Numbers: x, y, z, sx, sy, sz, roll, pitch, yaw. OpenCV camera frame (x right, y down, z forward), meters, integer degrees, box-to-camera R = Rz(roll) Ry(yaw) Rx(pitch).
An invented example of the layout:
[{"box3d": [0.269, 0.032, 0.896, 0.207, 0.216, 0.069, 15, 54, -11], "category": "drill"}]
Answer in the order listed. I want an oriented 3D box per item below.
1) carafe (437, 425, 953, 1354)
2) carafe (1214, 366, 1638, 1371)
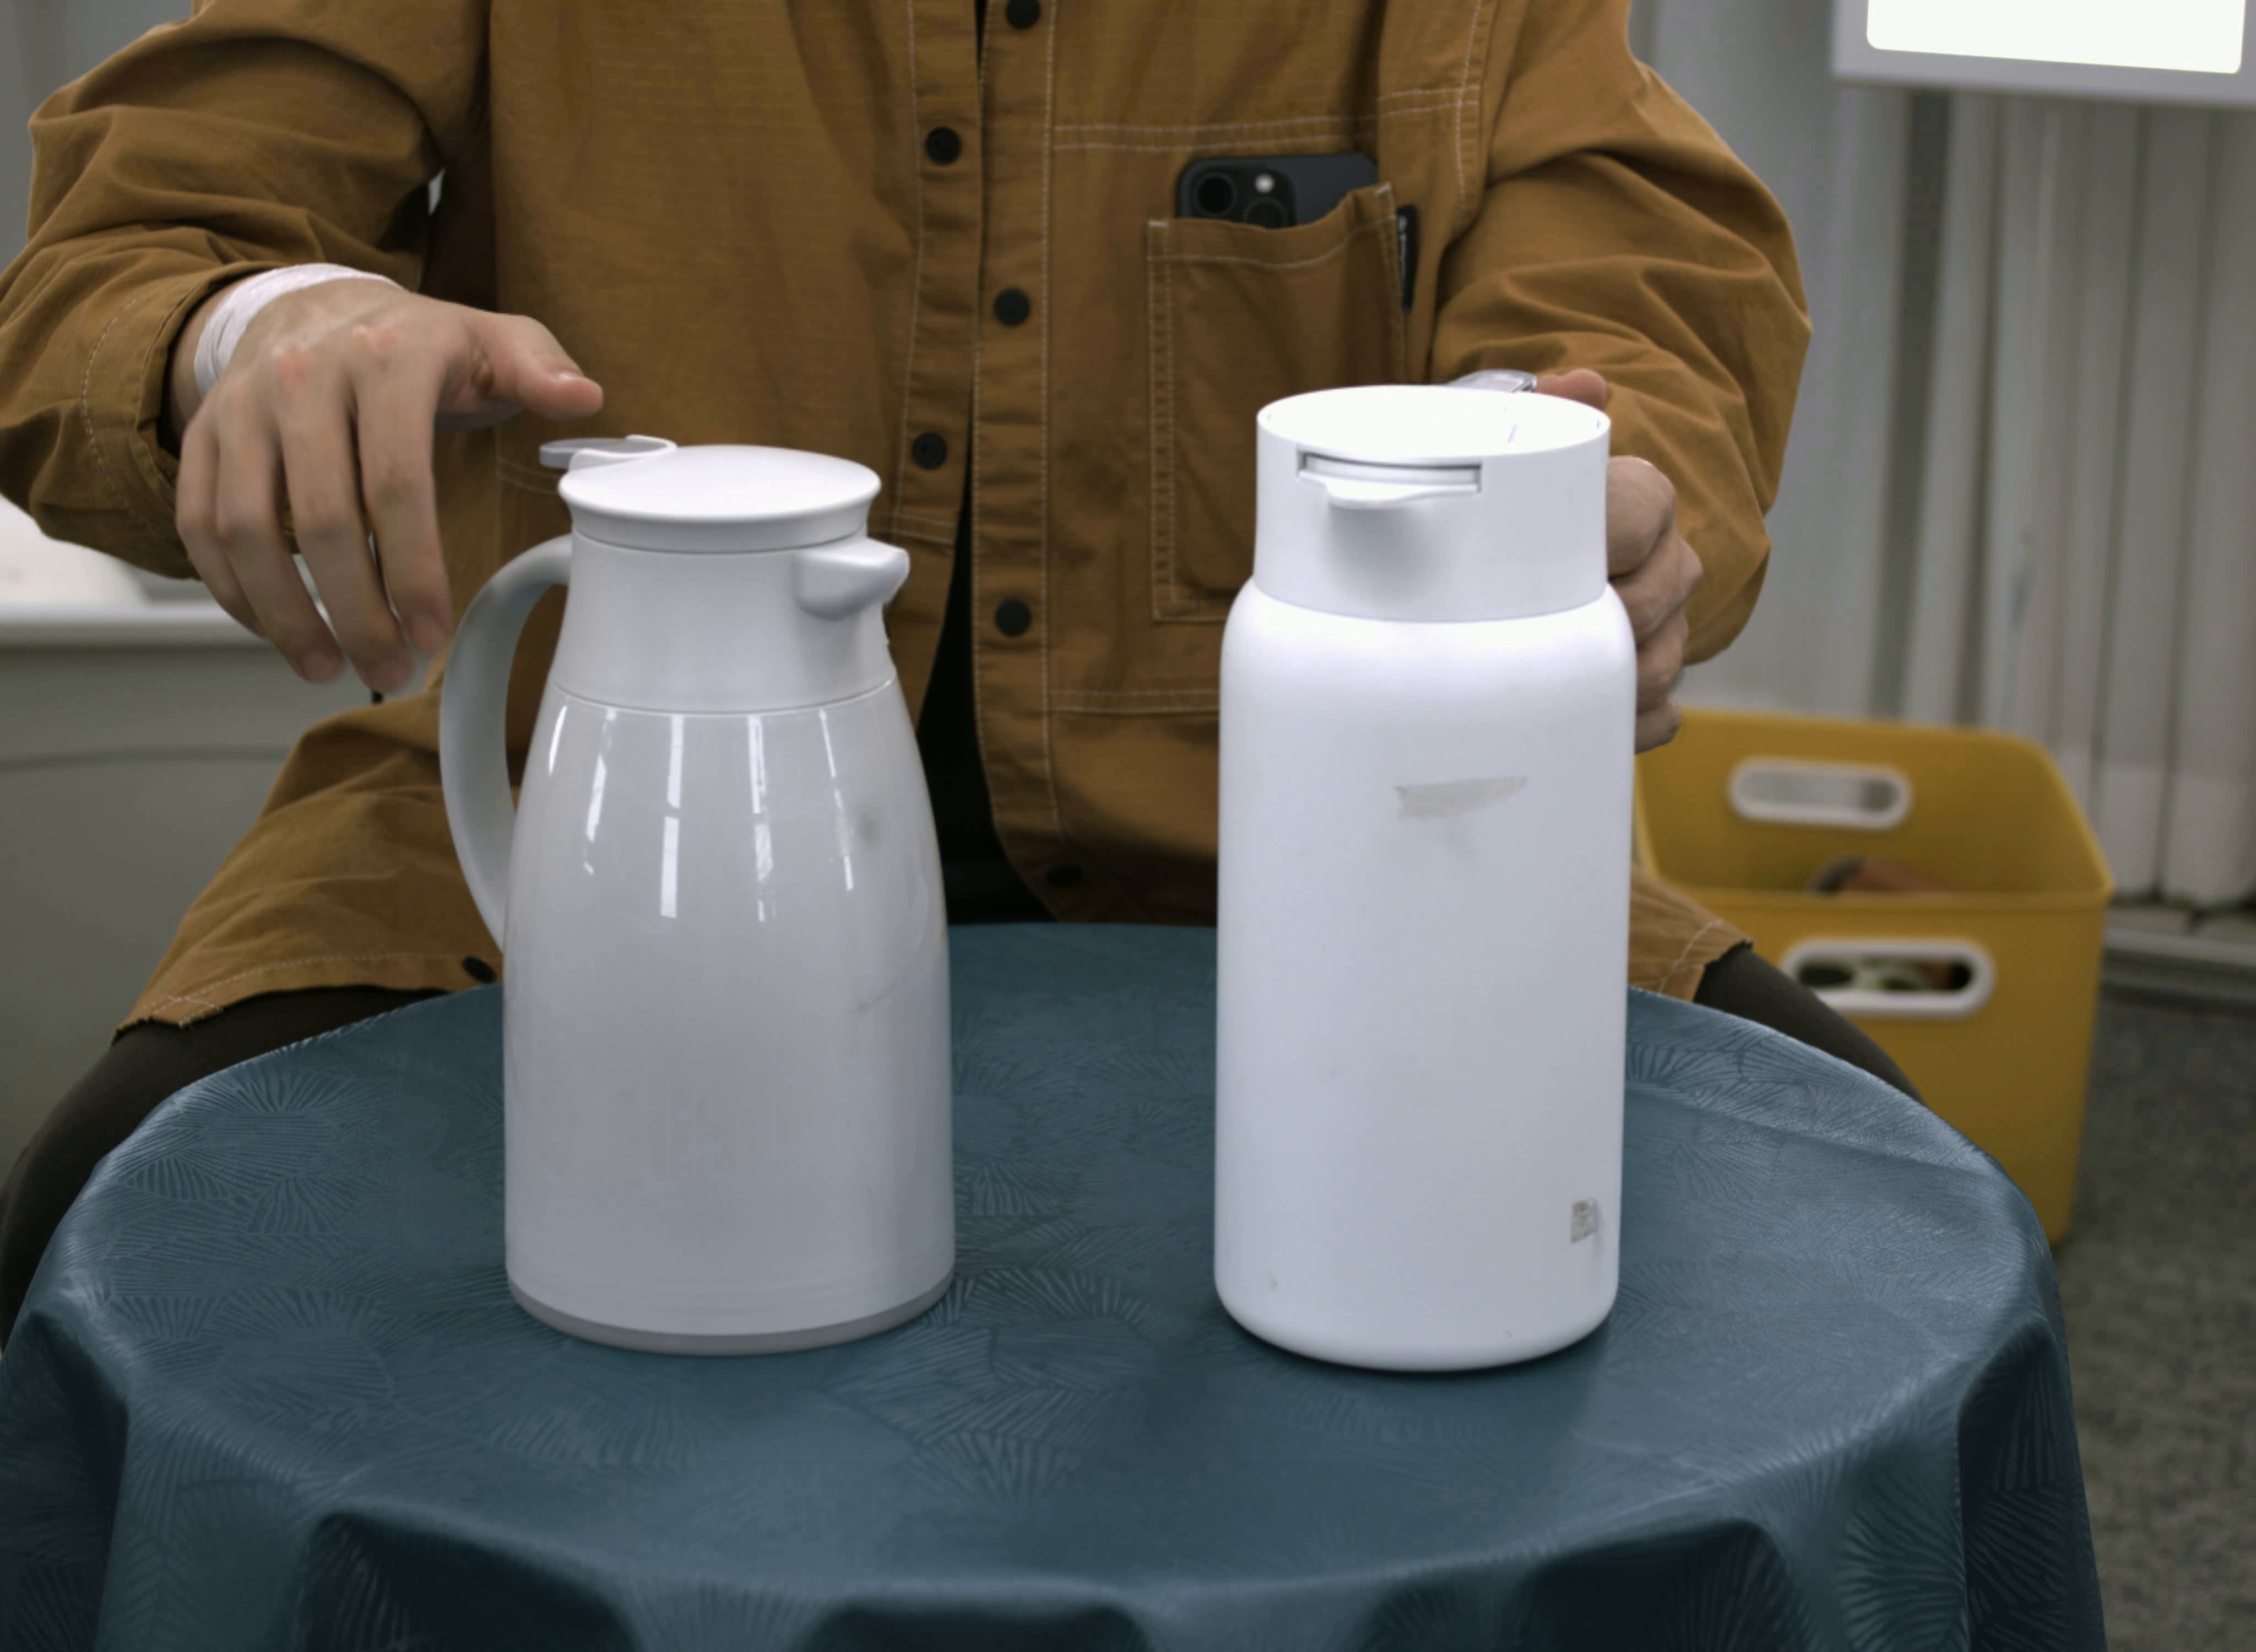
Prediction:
[{"box3d": [-0.132, 0.010, 1.520, 0.165, 0.250, 0.133, 10, 19, 34], "category": "carafe"}, {"box3d": [0.088, 0.007, 1.502, 0.123, 0.271, 0.173, 4, 16, 19], "category": "carafe"}]
